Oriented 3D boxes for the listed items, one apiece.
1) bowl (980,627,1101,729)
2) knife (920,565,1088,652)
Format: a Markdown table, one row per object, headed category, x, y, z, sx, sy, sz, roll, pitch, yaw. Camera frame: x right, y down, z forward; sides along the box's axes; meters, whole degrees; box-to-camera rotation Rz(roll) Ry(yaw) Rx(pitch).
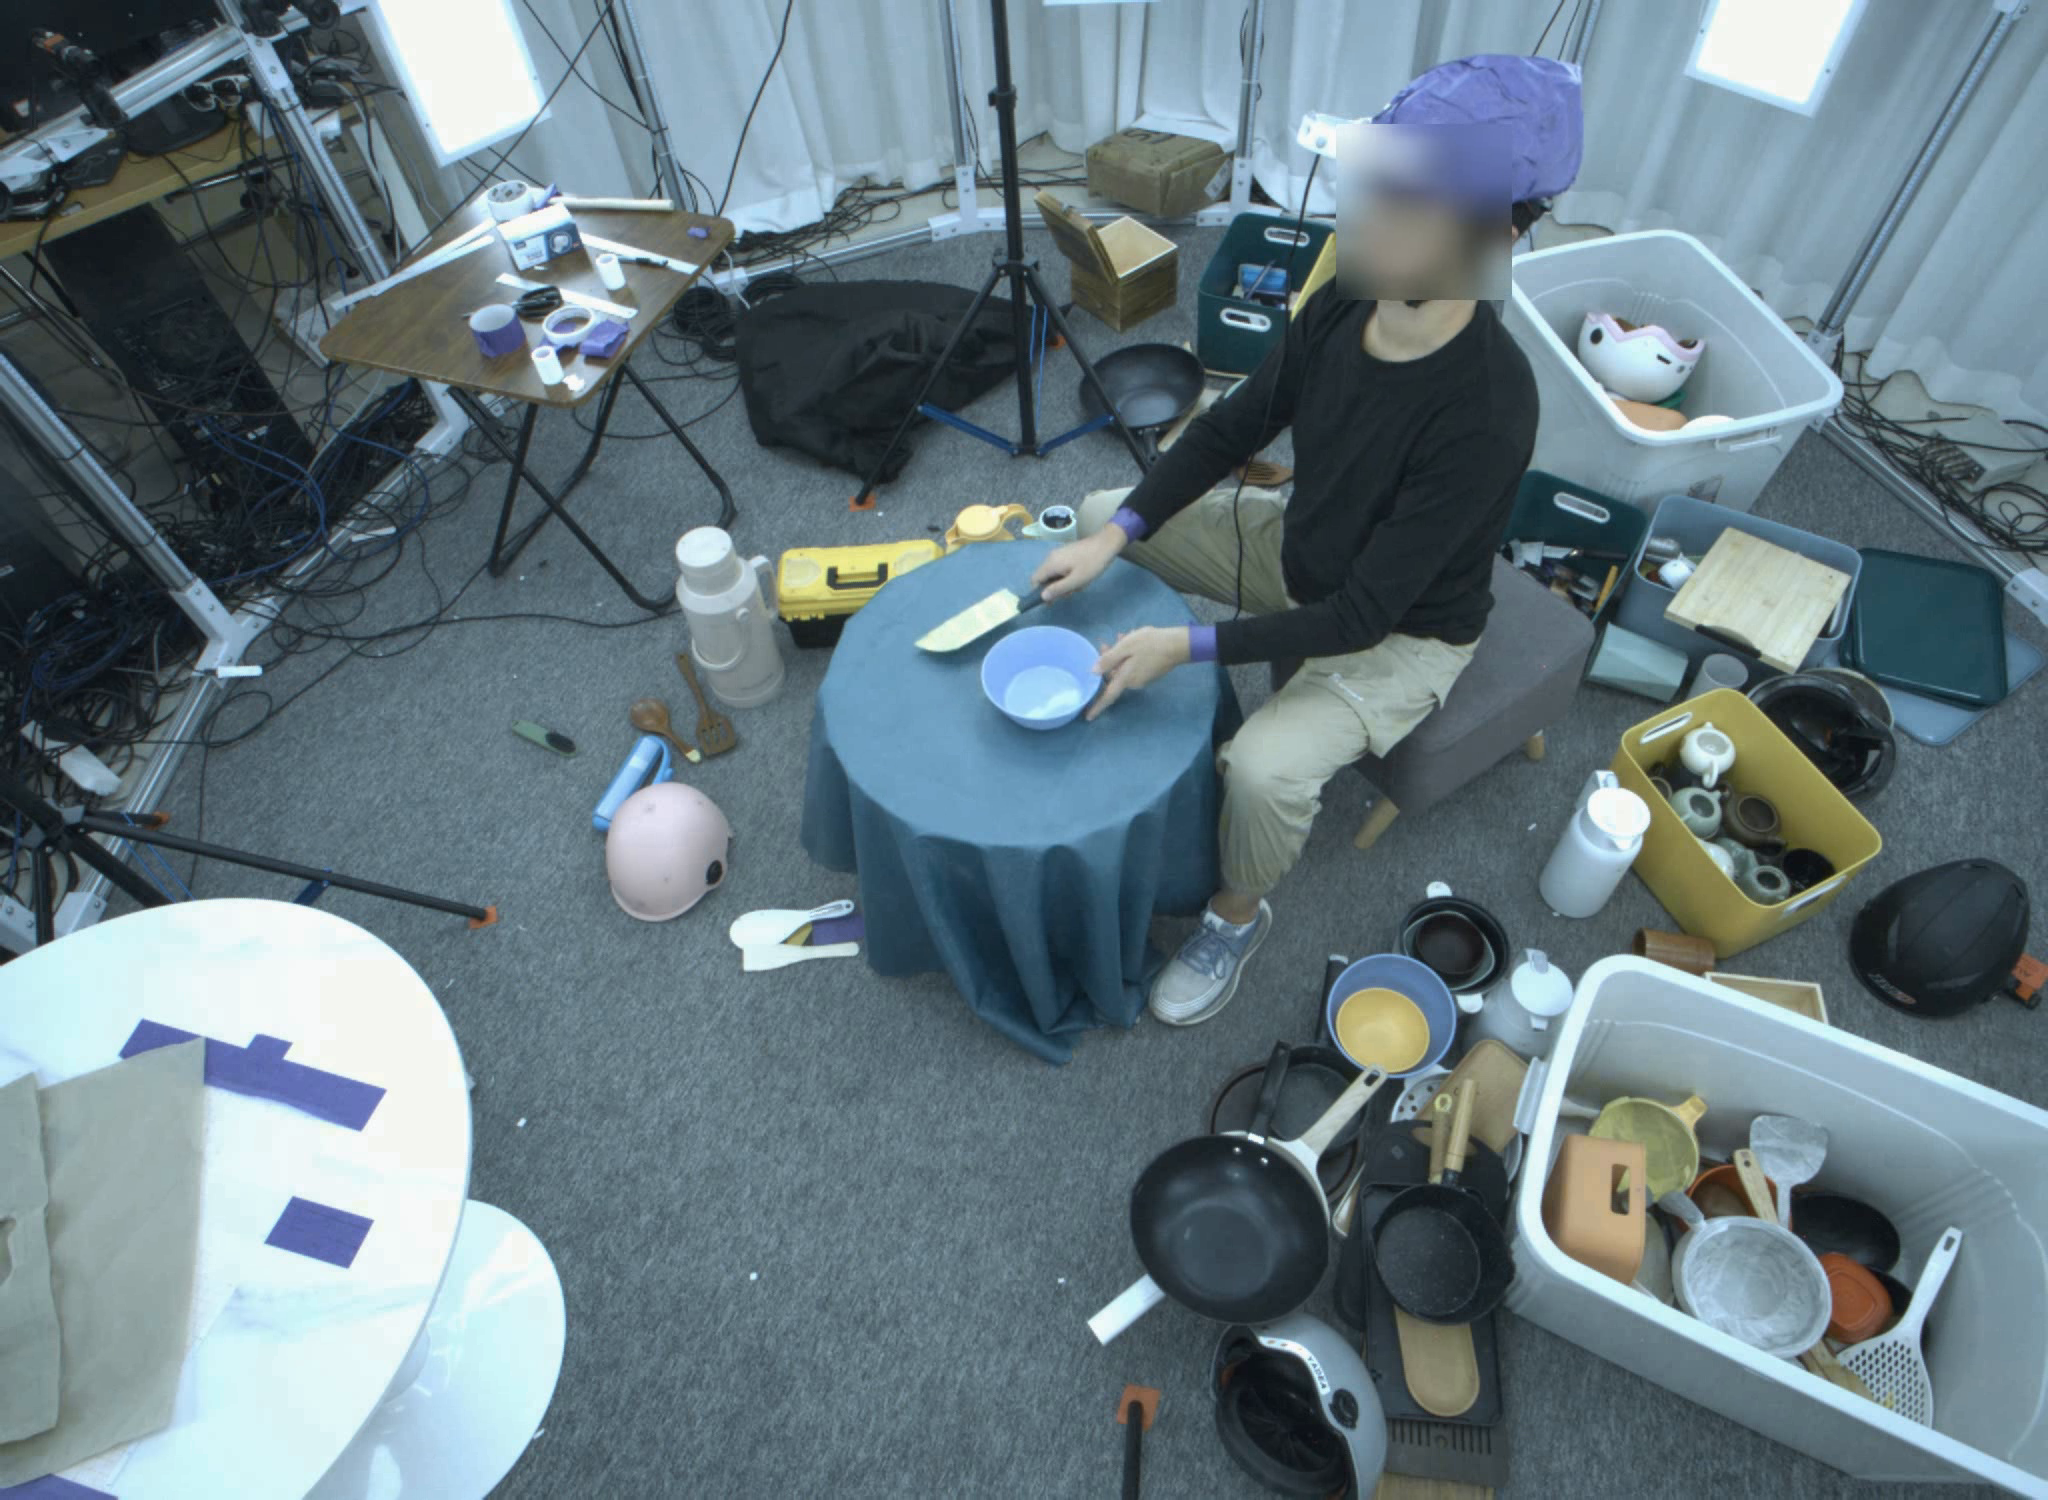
| category | x | y | z | sx | sy | sz | roll | pitch | yaw |
| --- | --- | --- | --- | --- | --- | --- | --- | --- | --- |
| bowl | 0.026 | -0.096 | 1.809 | 0.176 | 0.071 | 0.174 | -1 | 54 | 2 |
| knife | -0.032 | -0.223 | 1.903 | 0.291 | 0.027 | 0.079 | -28 | 46 | -13 |
